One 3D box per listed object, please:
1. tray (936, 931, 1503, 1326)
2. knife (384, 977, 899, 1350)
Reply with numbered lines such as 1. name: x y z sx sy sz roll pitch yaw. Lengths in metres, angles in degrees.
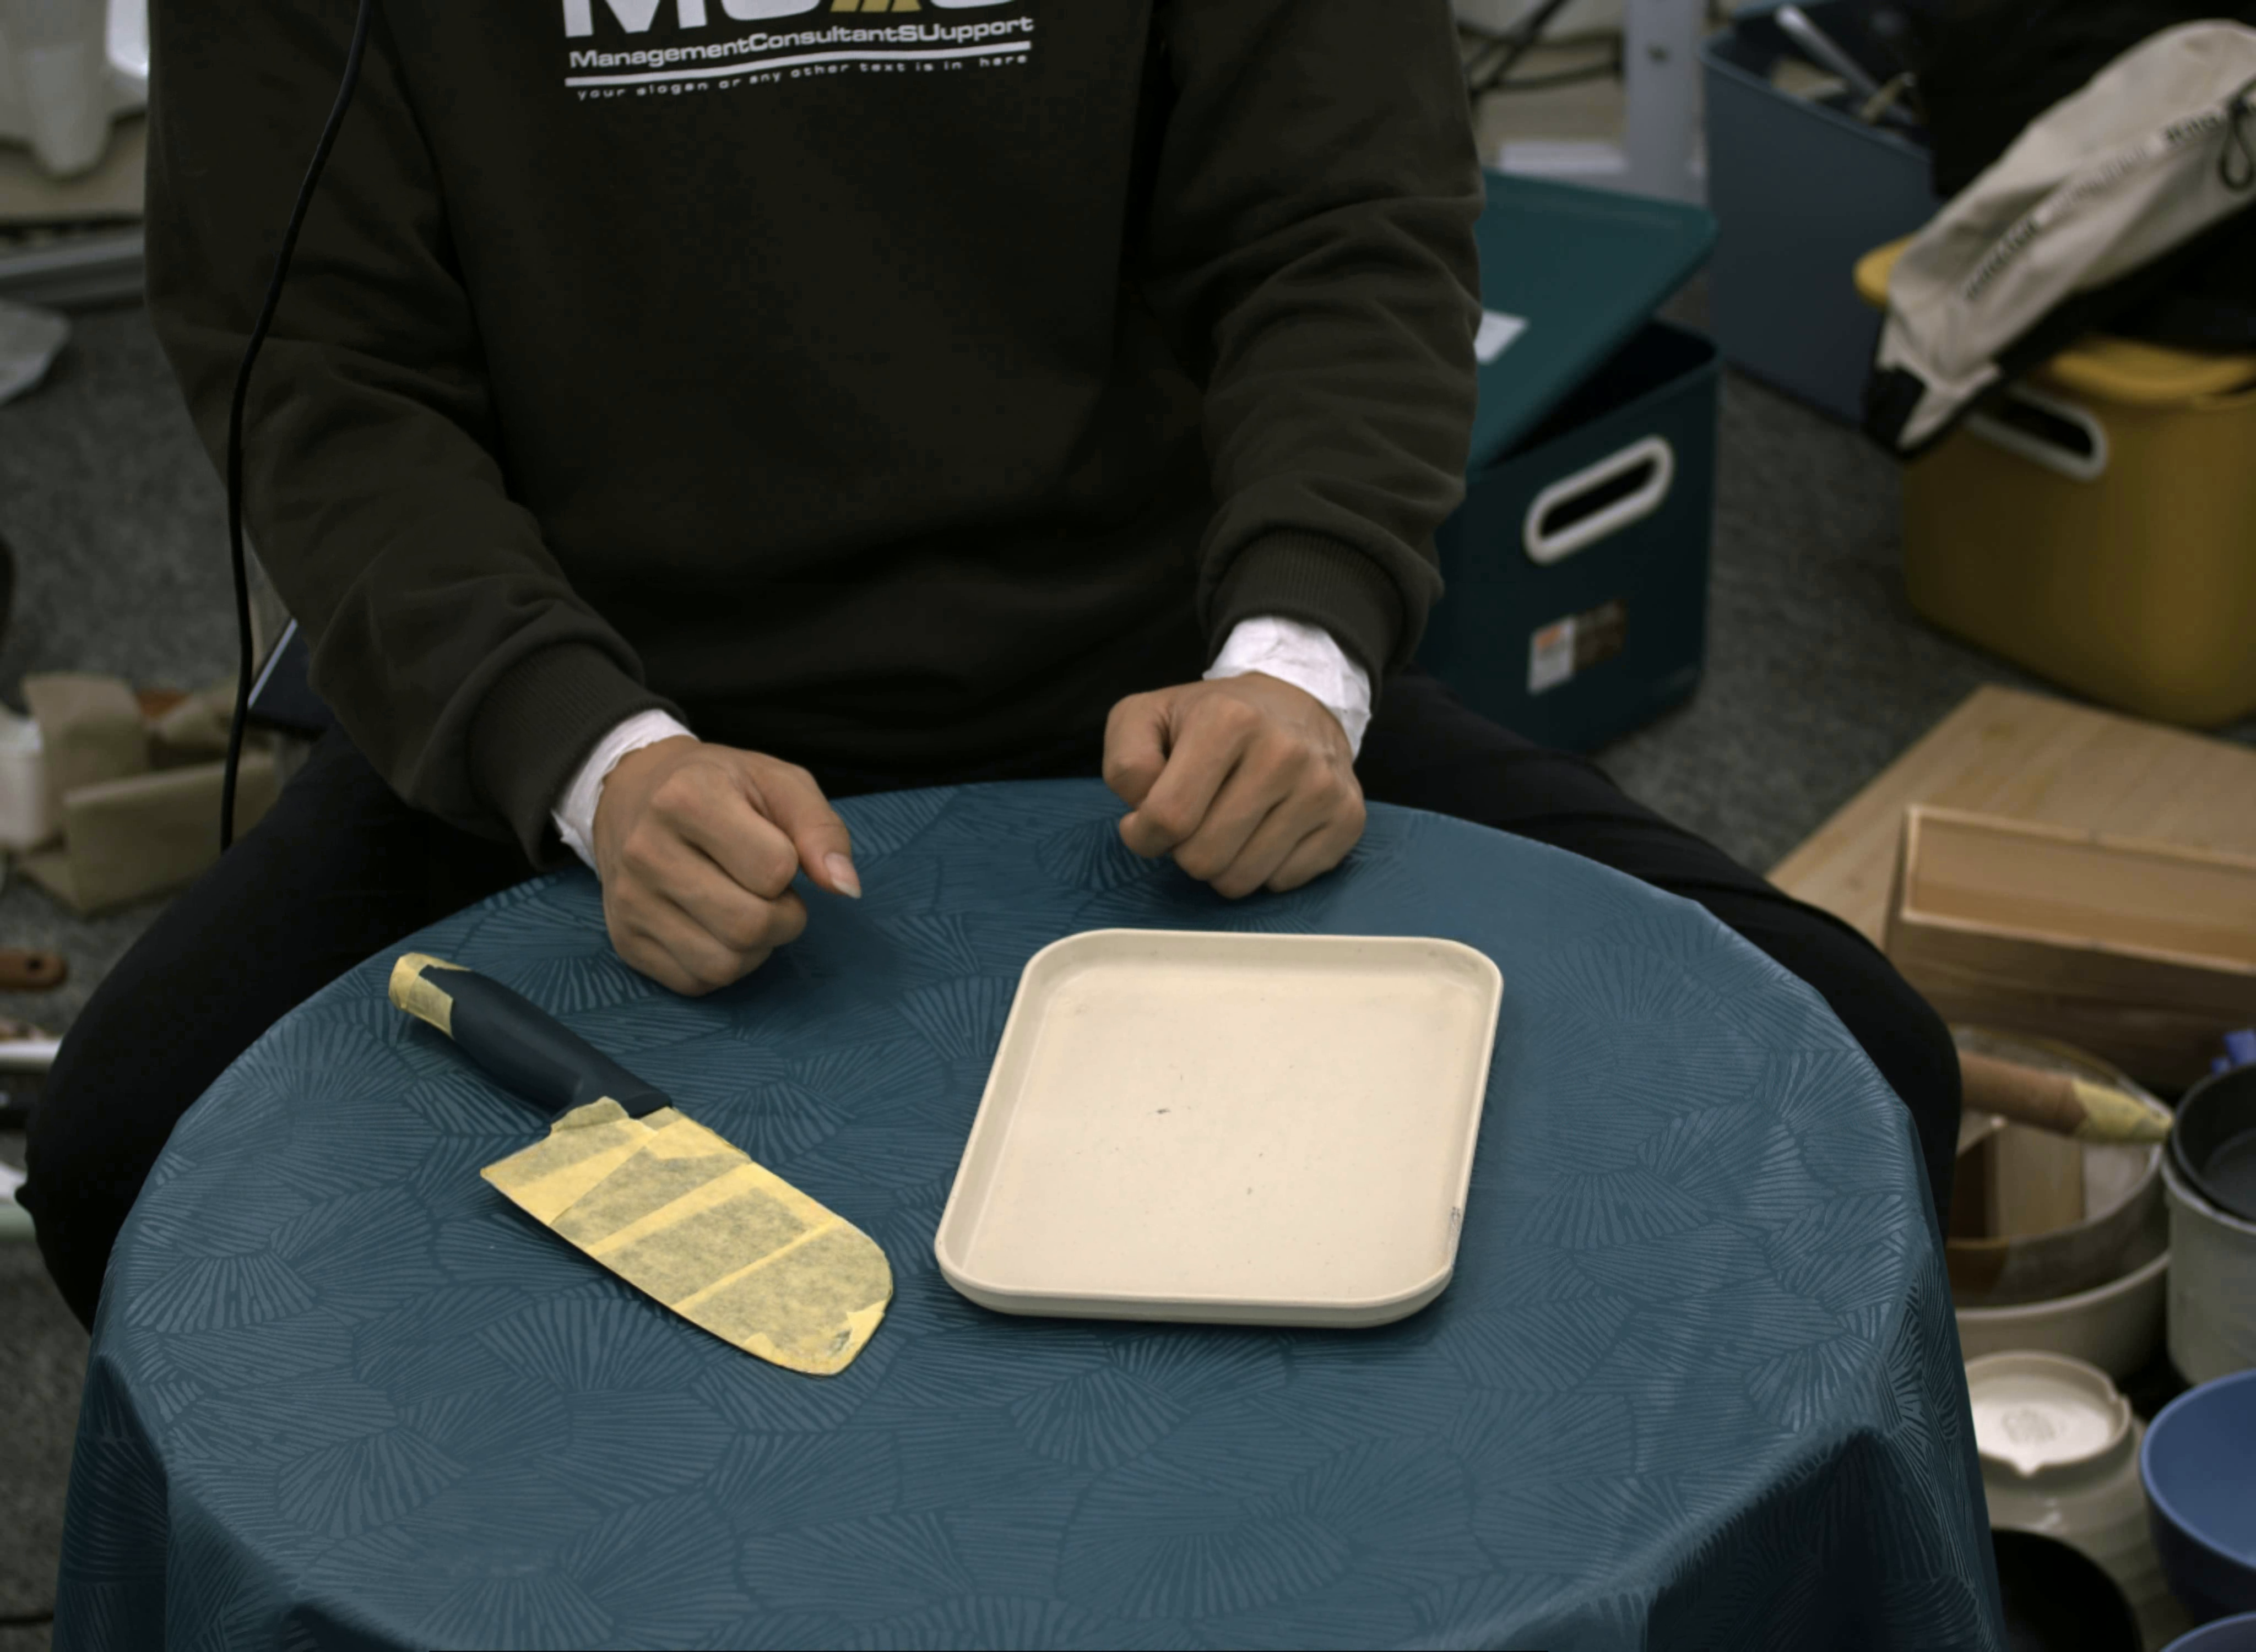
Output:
1. tray: 0.034 0.100 1.880 0.170 0.017 0.243 1 27 9
2. knife: -0.174 0.114 1.877 0.082 0.027 0.290 -21 33 -33
